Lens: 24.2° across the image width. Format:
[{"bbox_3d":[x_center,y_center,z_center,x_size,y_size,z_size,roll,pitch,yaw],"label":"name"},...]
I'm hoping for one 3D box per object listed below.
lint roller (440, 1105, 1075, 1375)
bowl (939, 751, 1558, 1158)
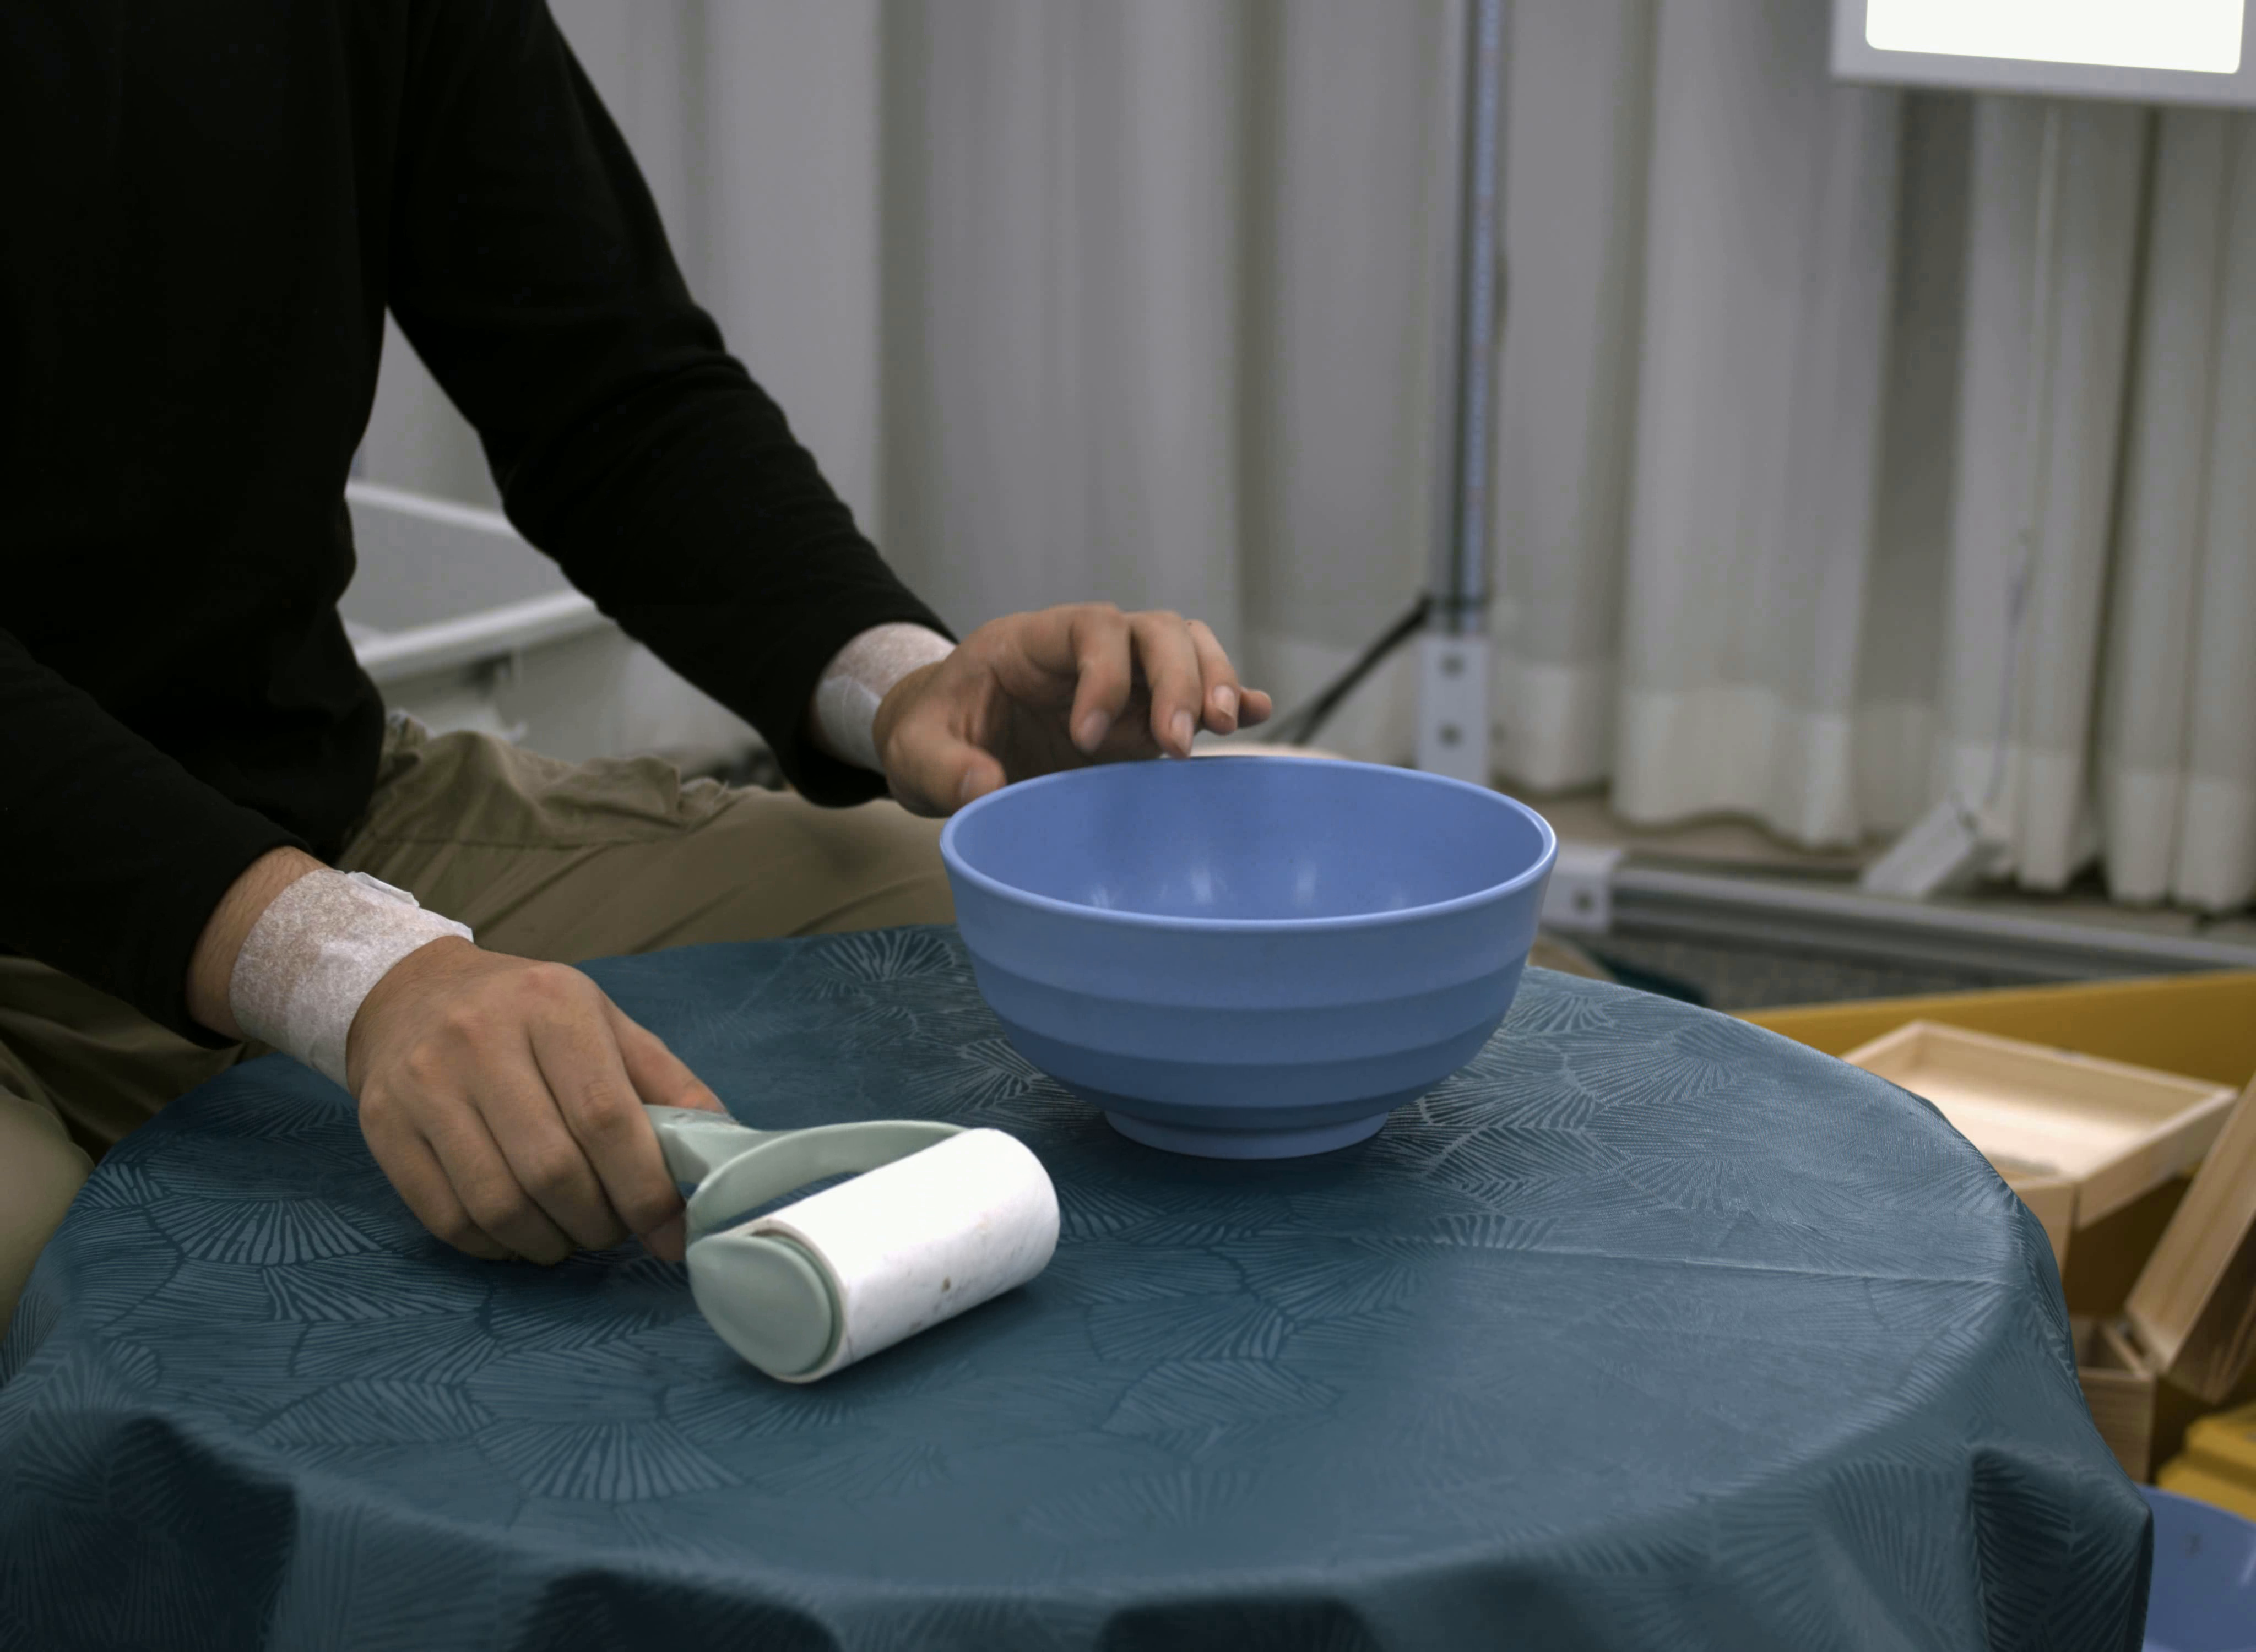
[{"bbox_3d":[-0.122,0.106,1.540,0.195,0.049,0.117,13,21,32],"label":"lint roller"},{"bbox_3d":[0.038,0.046,1.679,0.196,0.096,0.195,0,17,1],"label":"bowl"}]
